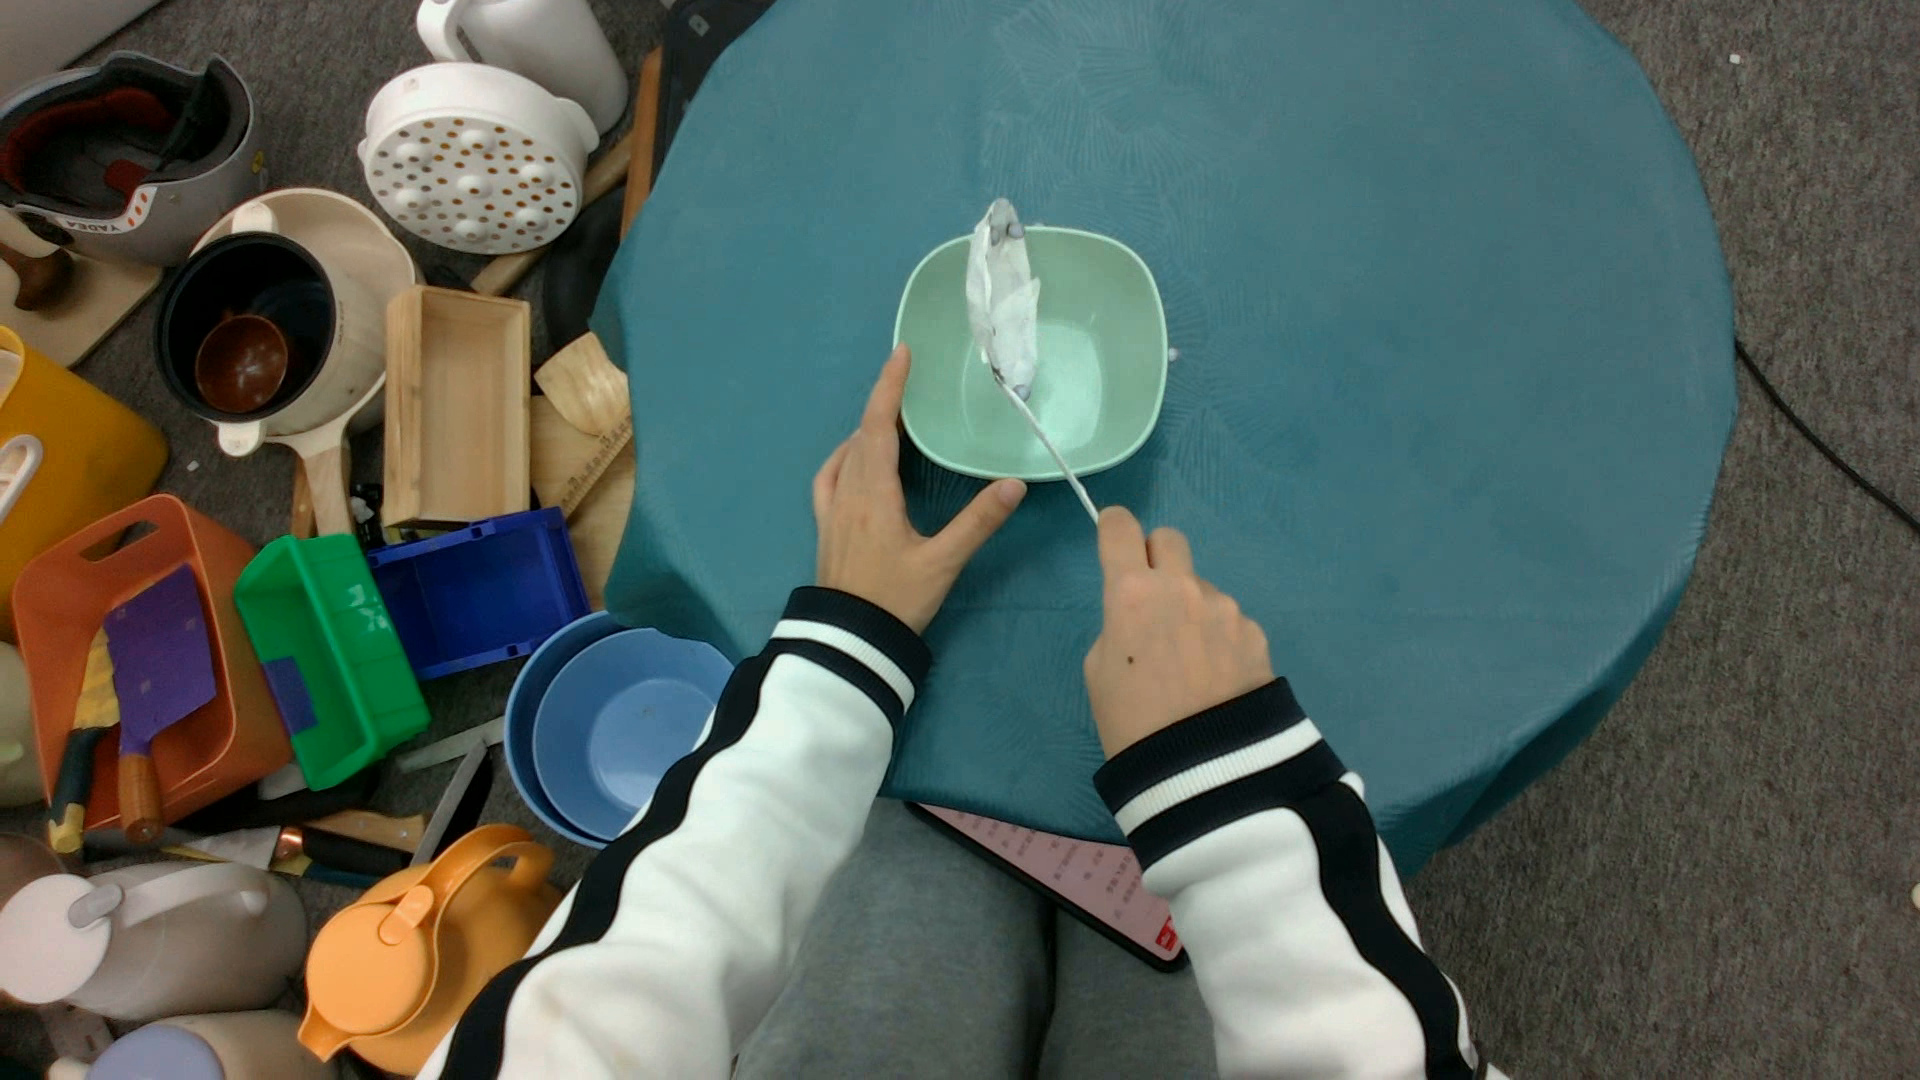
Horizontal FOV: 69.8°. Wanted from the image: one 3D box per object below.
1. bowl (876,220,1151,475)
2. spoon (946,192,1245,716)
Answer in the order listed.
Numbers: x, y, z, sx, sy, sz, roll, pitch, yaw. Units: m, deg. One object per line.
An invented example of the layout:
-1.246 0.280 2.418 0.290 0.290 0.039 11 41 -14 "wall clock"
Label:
0.028 -0.092 0.719 0.151 0.058 0.152 -1 73 3 "bowl"
0.063 -0.048 0.611 0.059 0.100 0.278 -37 60 5 "spoon"
